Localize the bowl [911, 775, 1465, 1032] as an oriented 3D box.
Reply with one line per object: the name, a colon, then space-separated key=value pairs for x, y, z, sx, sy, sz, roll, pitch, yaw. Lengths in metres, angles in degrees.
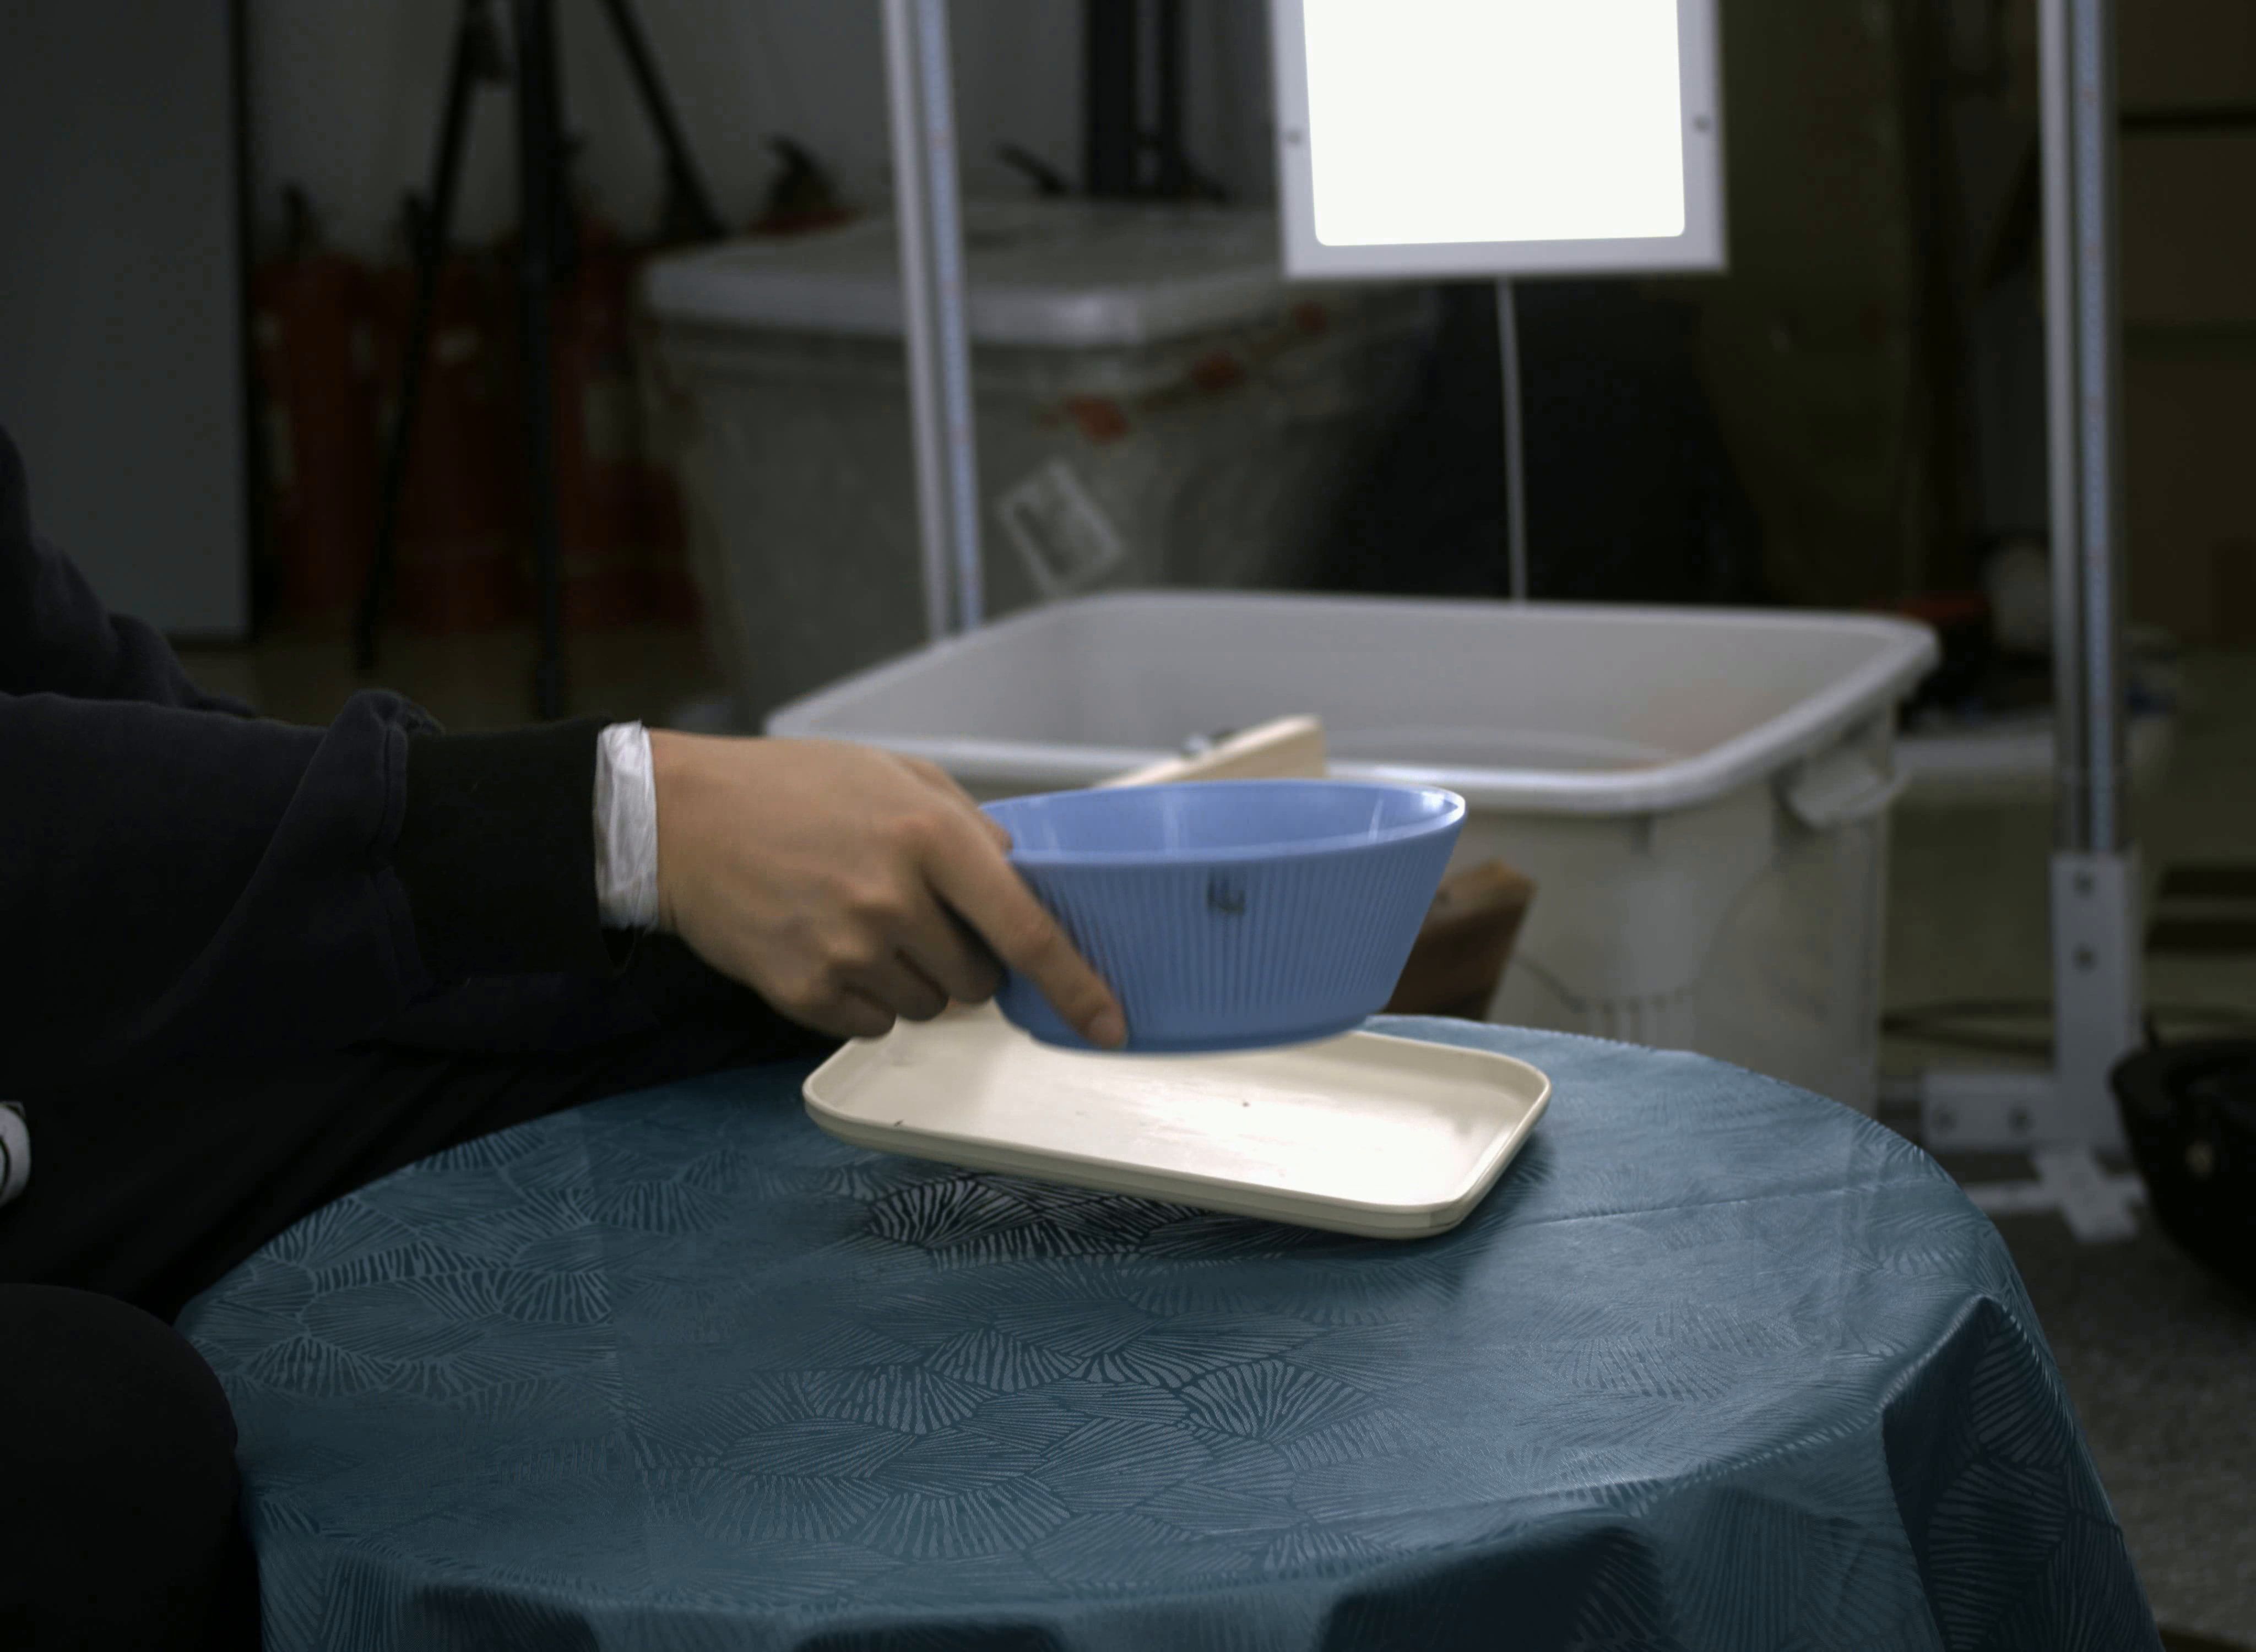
bowl: x=0.020 y=0.024 z=1.733 sx=0.175 sy=0.070 sz=0.176 roll=-2 pitch=6 yaw=-1

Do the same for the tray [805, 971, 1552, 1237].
tray: x=0.019 y=0.096 z=1.909 sx=0.242 sy=0.017 sz=0.168 roll=9 pitch=17 yaw=17
